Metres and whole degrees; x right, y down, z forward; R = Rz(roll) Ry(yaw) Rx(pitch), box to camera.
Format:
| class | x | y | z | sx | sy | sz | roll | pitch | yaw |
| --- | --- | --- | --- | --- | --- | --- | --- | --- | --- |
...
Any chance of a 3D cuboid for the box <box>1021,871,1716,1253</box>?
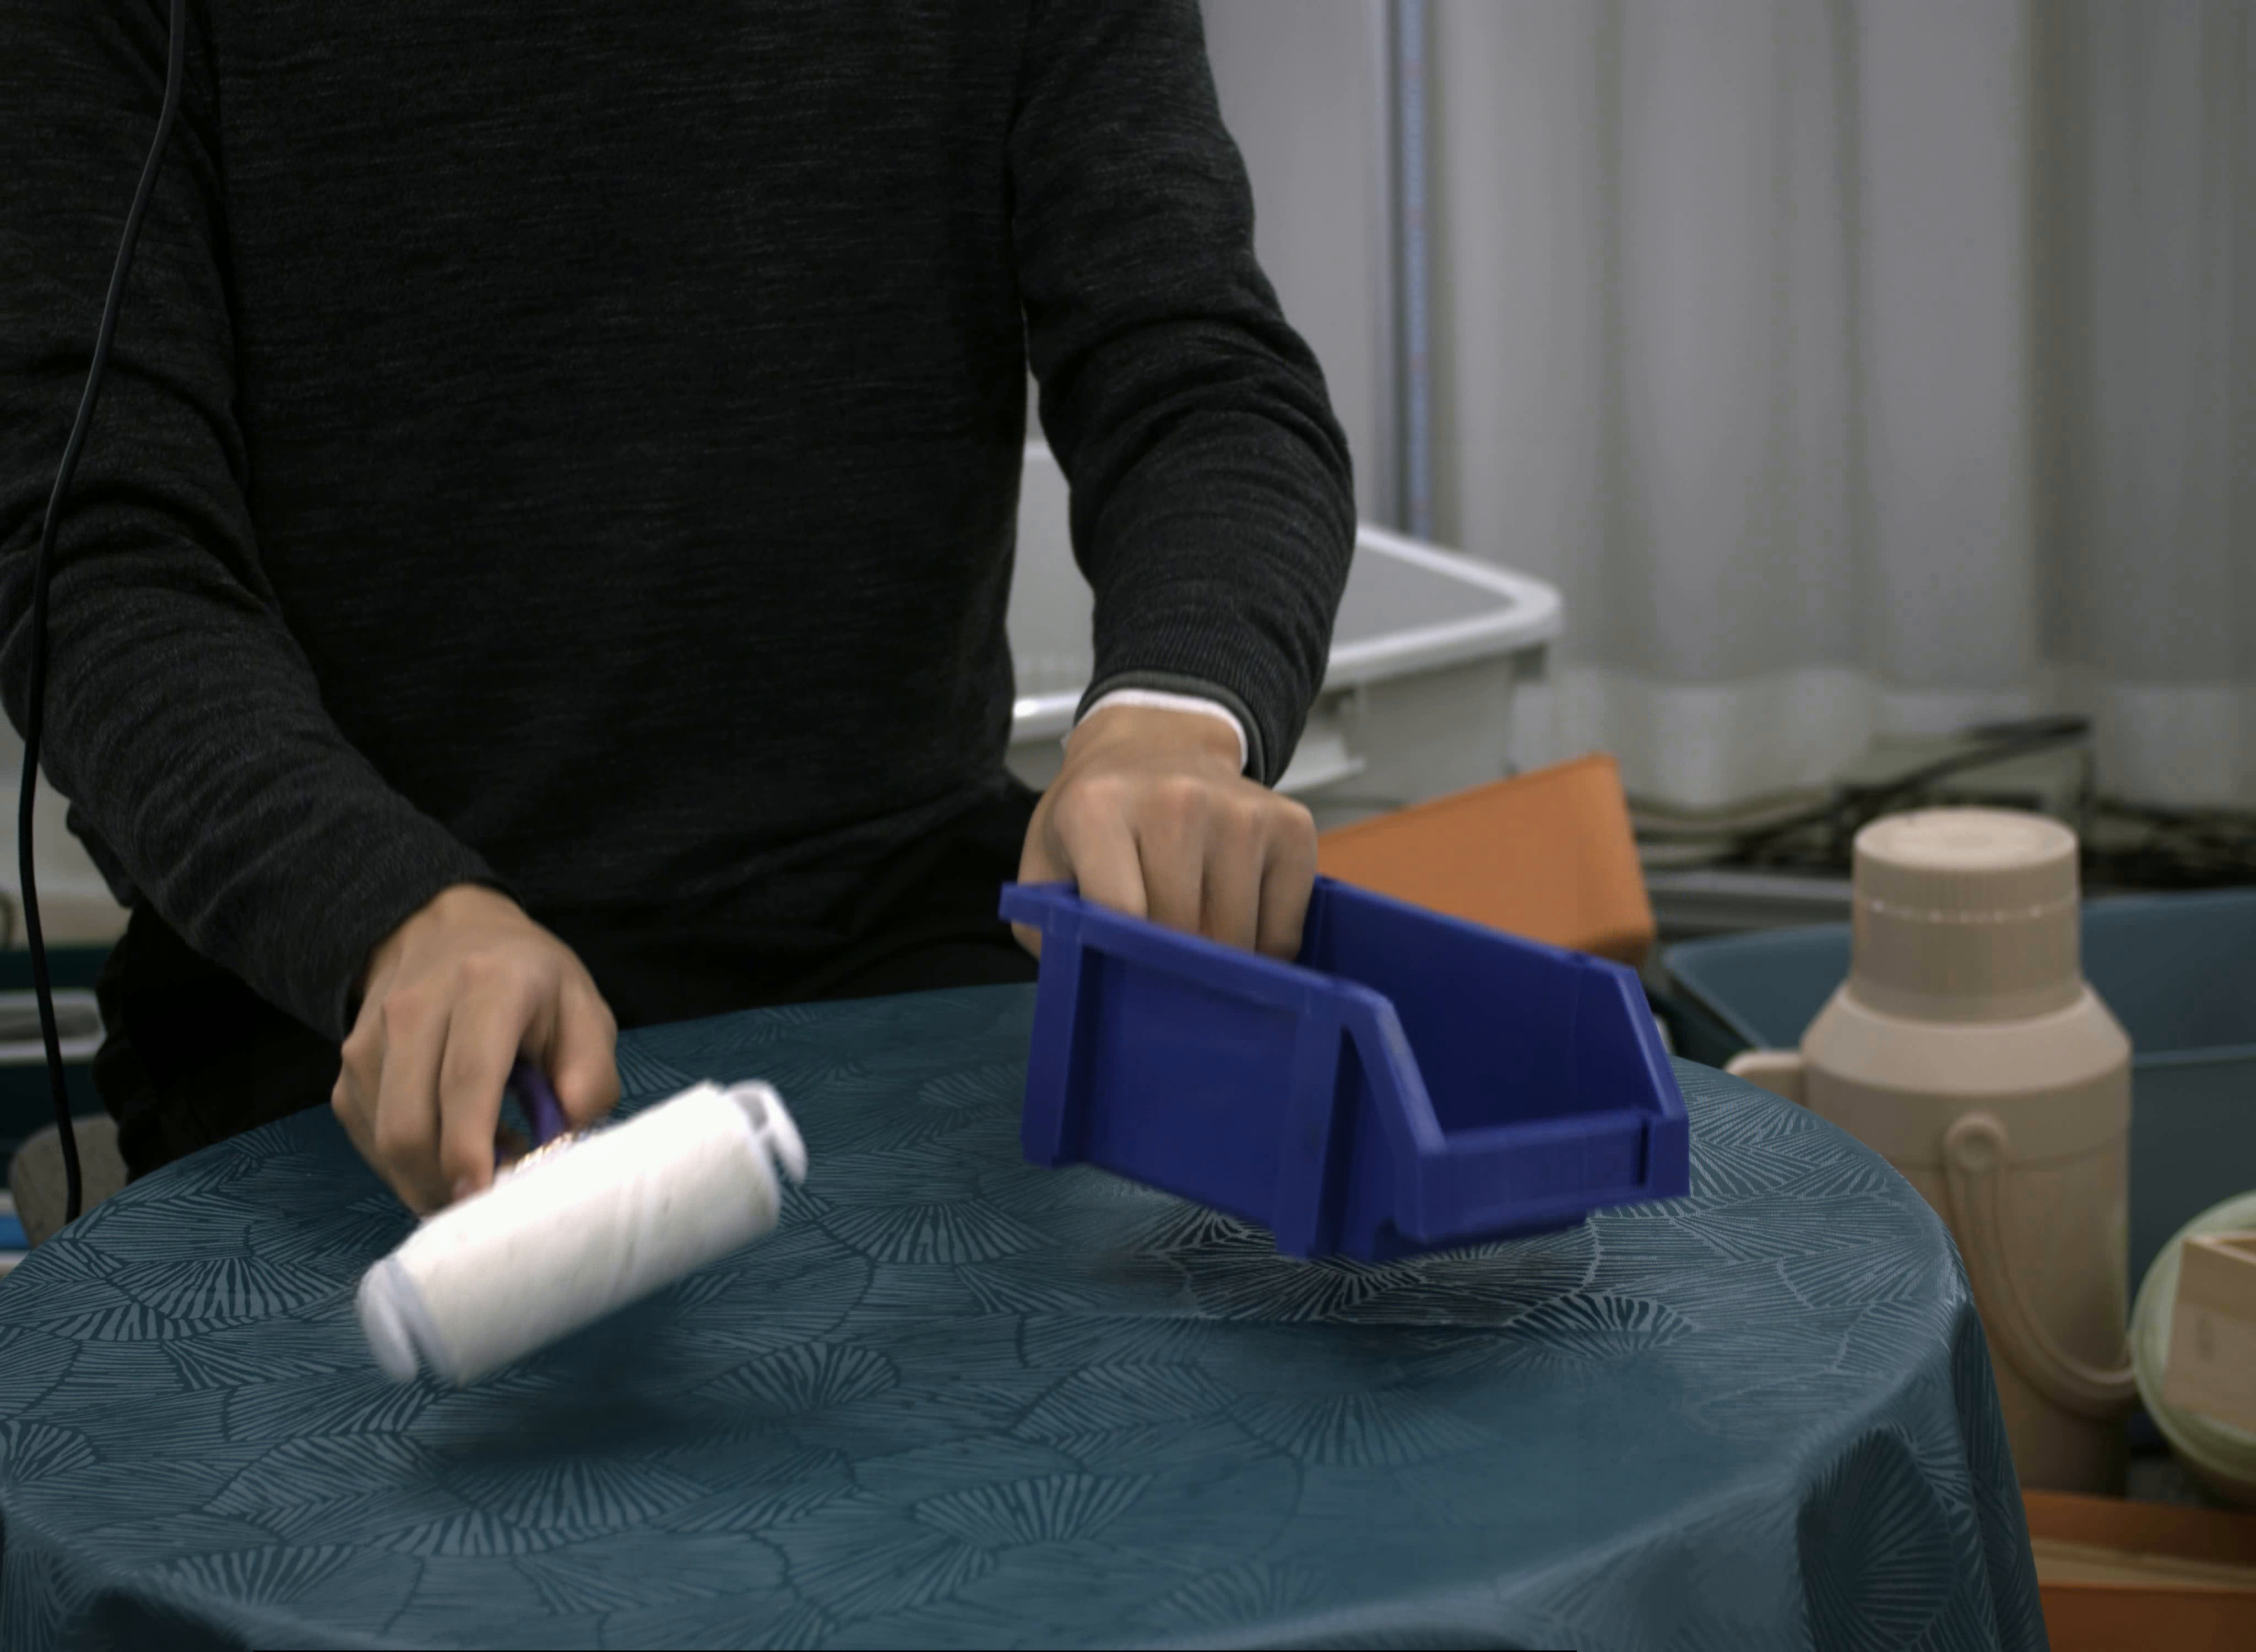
| class | x | y | z | sx | sy | sz | roll | pitch | yaw |
| --- | --- | --- | --- | --- | --- | --- | --- | --- | --- |
| box | 0.070 | 0.070 | 1.609 | 0.124 | 0.082 | 0.180 | -2 | 10 | -44 |

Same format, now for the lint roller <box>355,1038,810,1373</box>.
| class | x | y | z | sx | sy | sz | roll | pitch | yaw |
| --- | --- | --- | --- | --- | --- | --- | --- | --- | --- |
| lint roller | -0.174 | 0.086 | 1.583 | 0.133 | 0.049 | 0.183 | -26 | 29 | -11 |
